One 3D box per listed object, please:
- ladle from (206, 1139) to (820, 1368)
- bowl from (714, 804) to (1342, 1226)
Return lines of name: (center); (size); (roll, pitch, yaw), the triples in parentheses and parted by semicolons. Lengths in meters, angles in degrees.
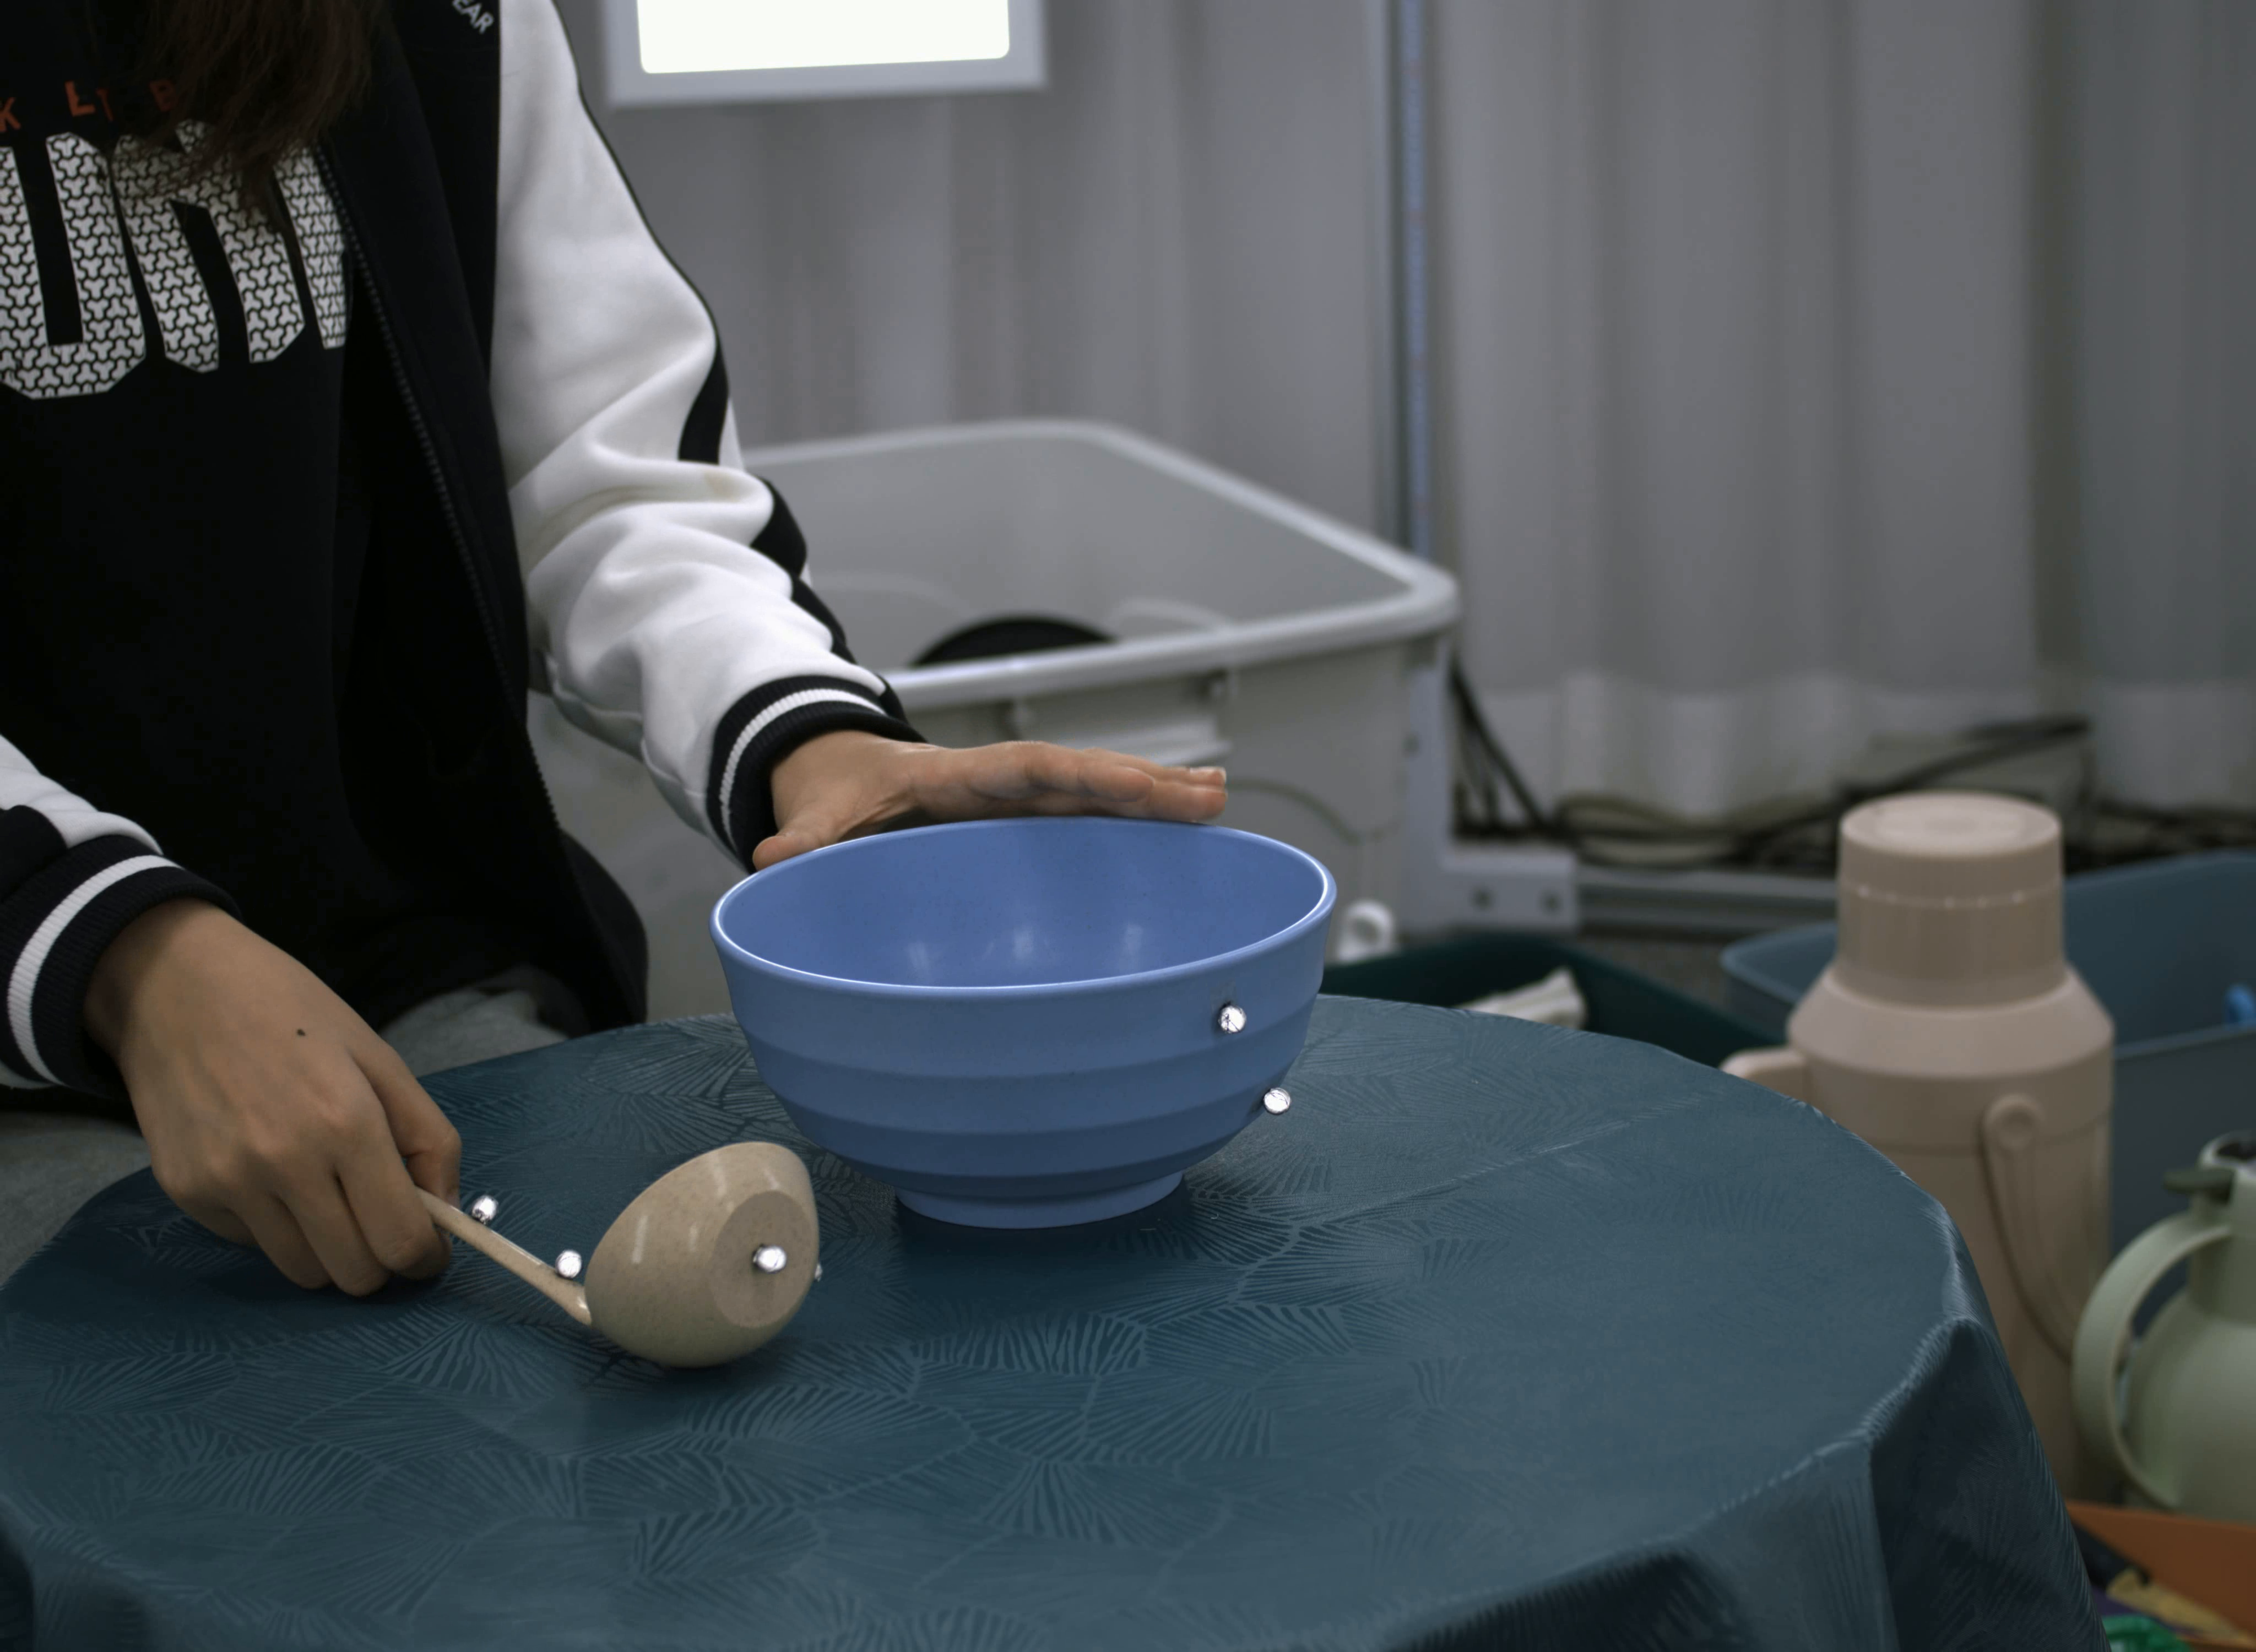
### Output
ladle: (-0.192, 0.098, 1.641); (0.256, 0.073, 0.071); (18, 8, 43)
bowl: (-0.031, 0.066, 1.717); (0.196, 0.095, 0.198); (0, 16, 0)
